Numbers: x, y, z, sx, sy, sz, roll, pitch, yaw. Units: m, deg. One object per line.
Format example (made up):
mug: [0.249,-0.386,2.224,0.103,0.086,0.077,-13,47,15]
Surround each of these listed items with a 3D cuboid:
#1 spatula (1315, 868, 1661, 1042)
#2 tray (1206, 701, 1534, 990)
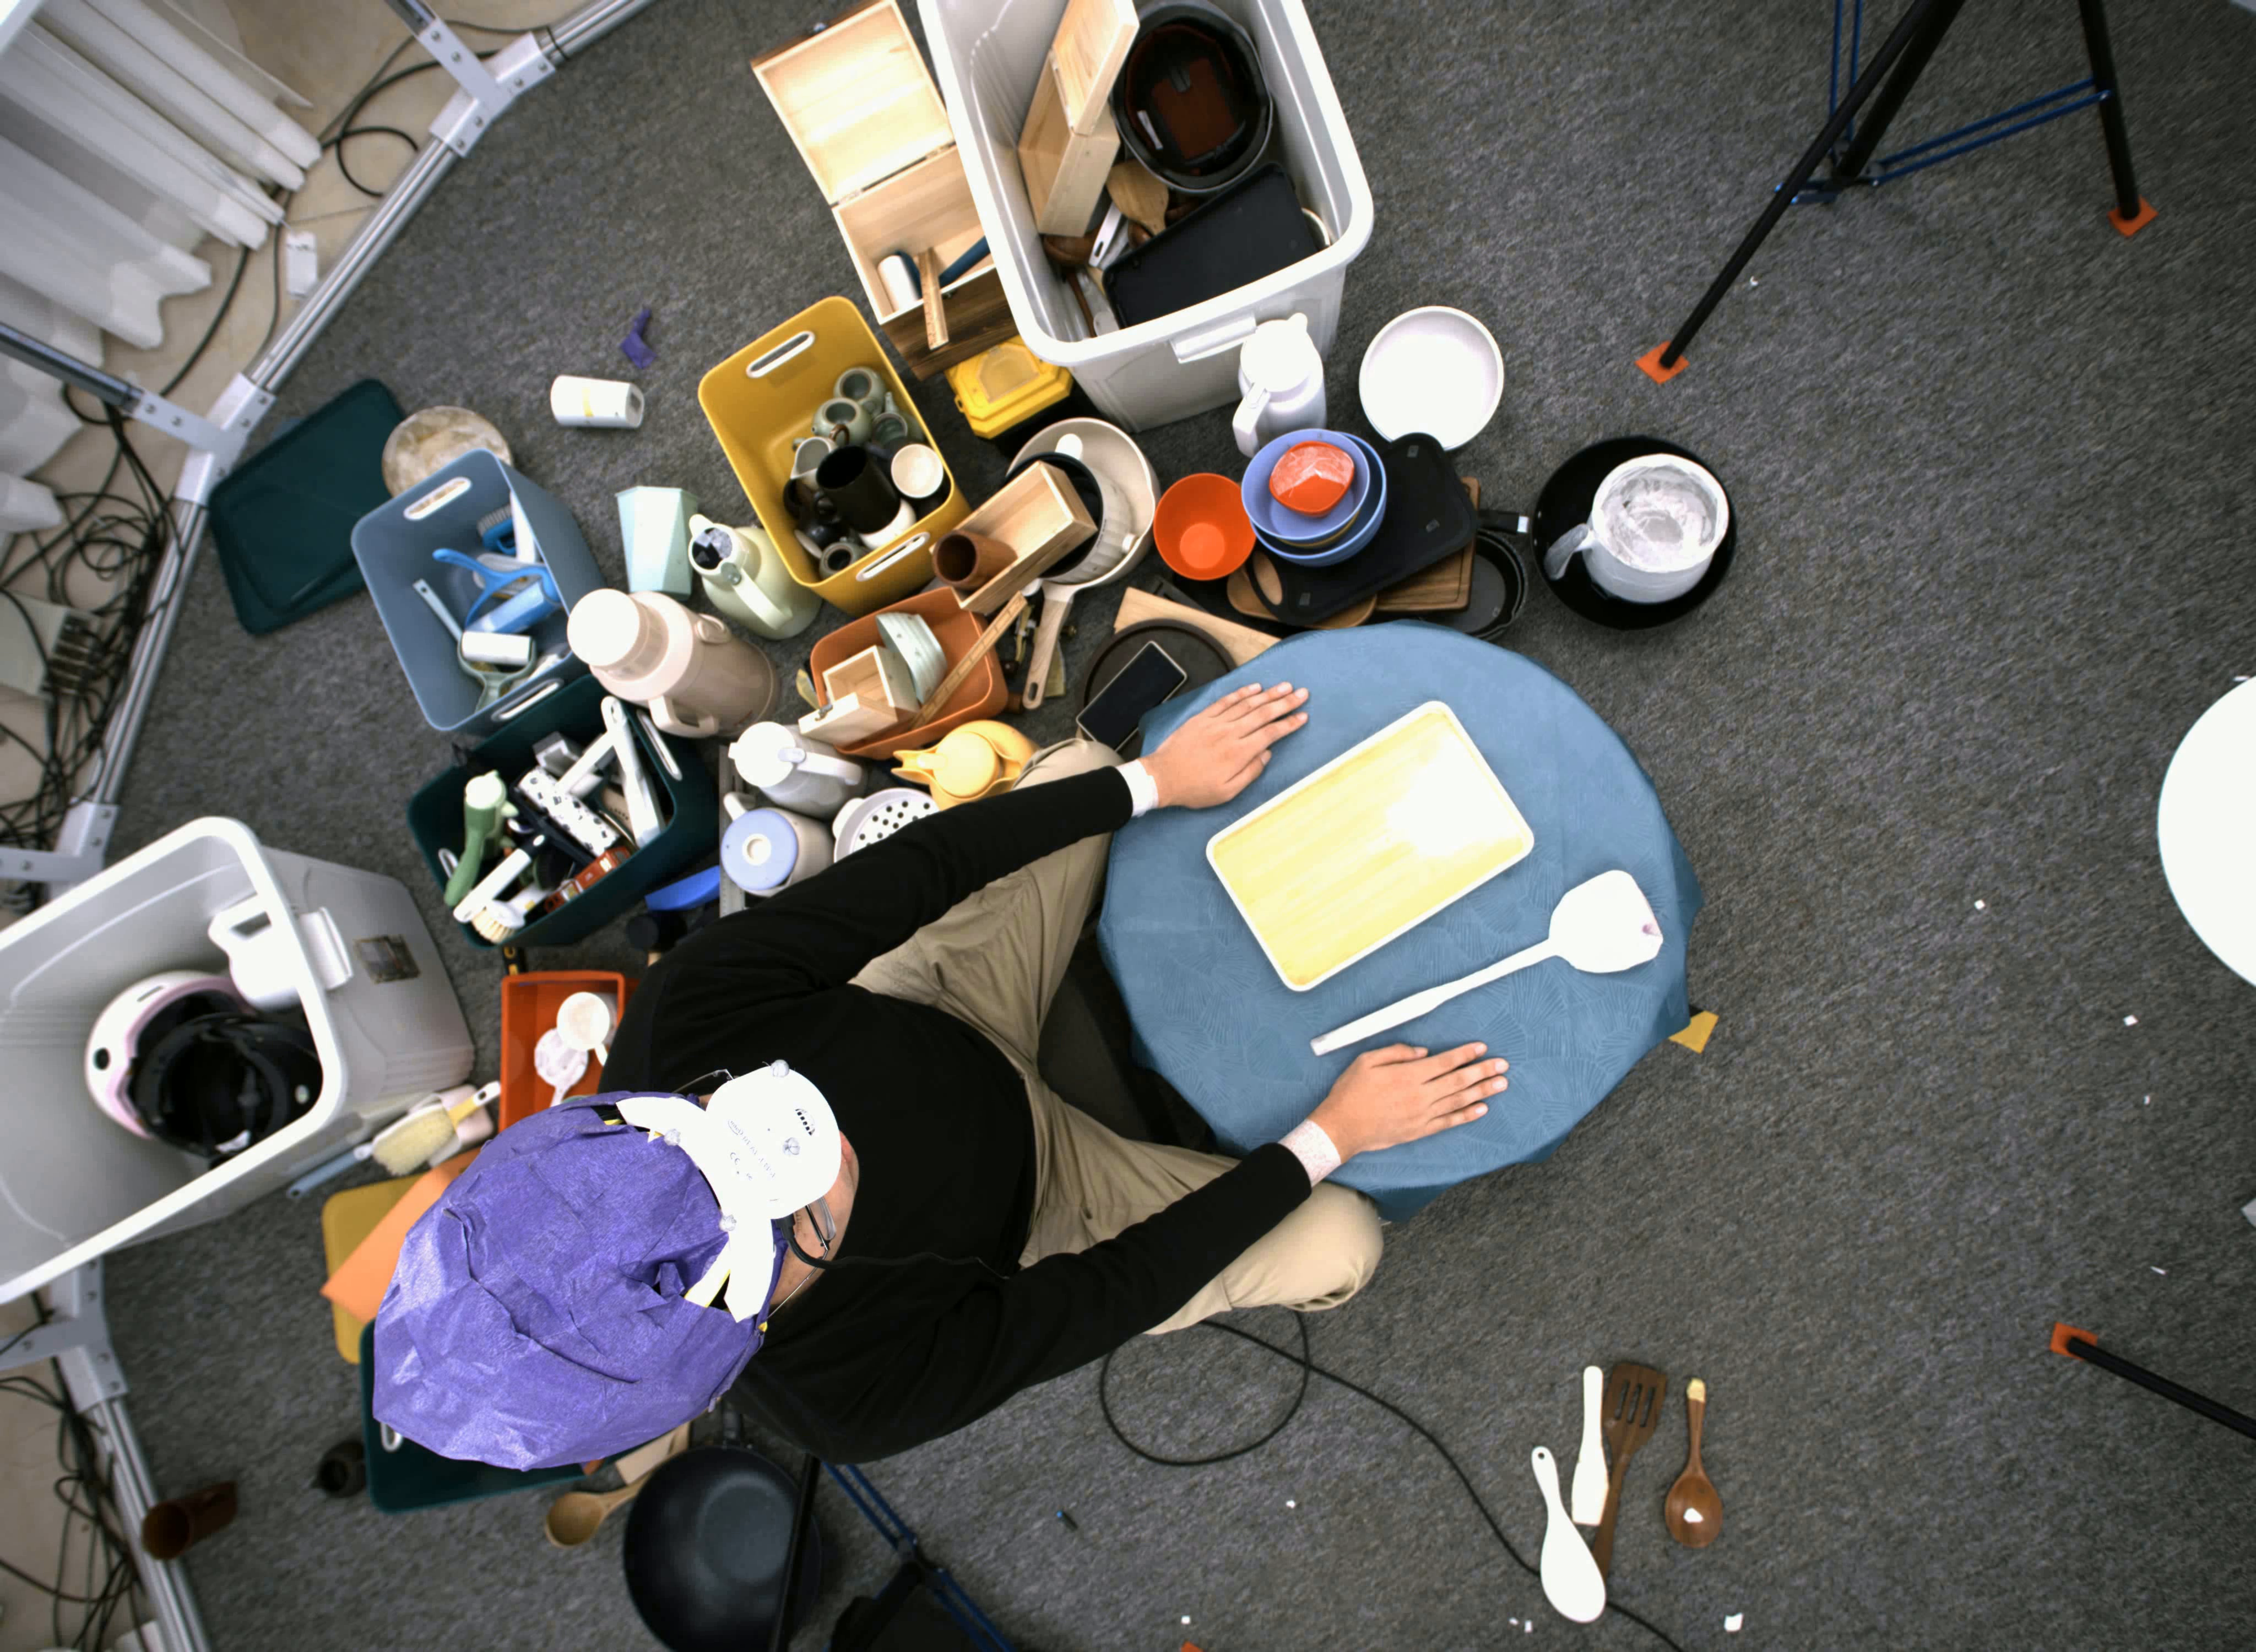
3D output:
spatula: [0.364,0.151,1.419,0.367,0.045,0.098,-24,83,8]
tray: [0.252,0.020,1.453,0.302,0.027,0.190,-32,82,7]
